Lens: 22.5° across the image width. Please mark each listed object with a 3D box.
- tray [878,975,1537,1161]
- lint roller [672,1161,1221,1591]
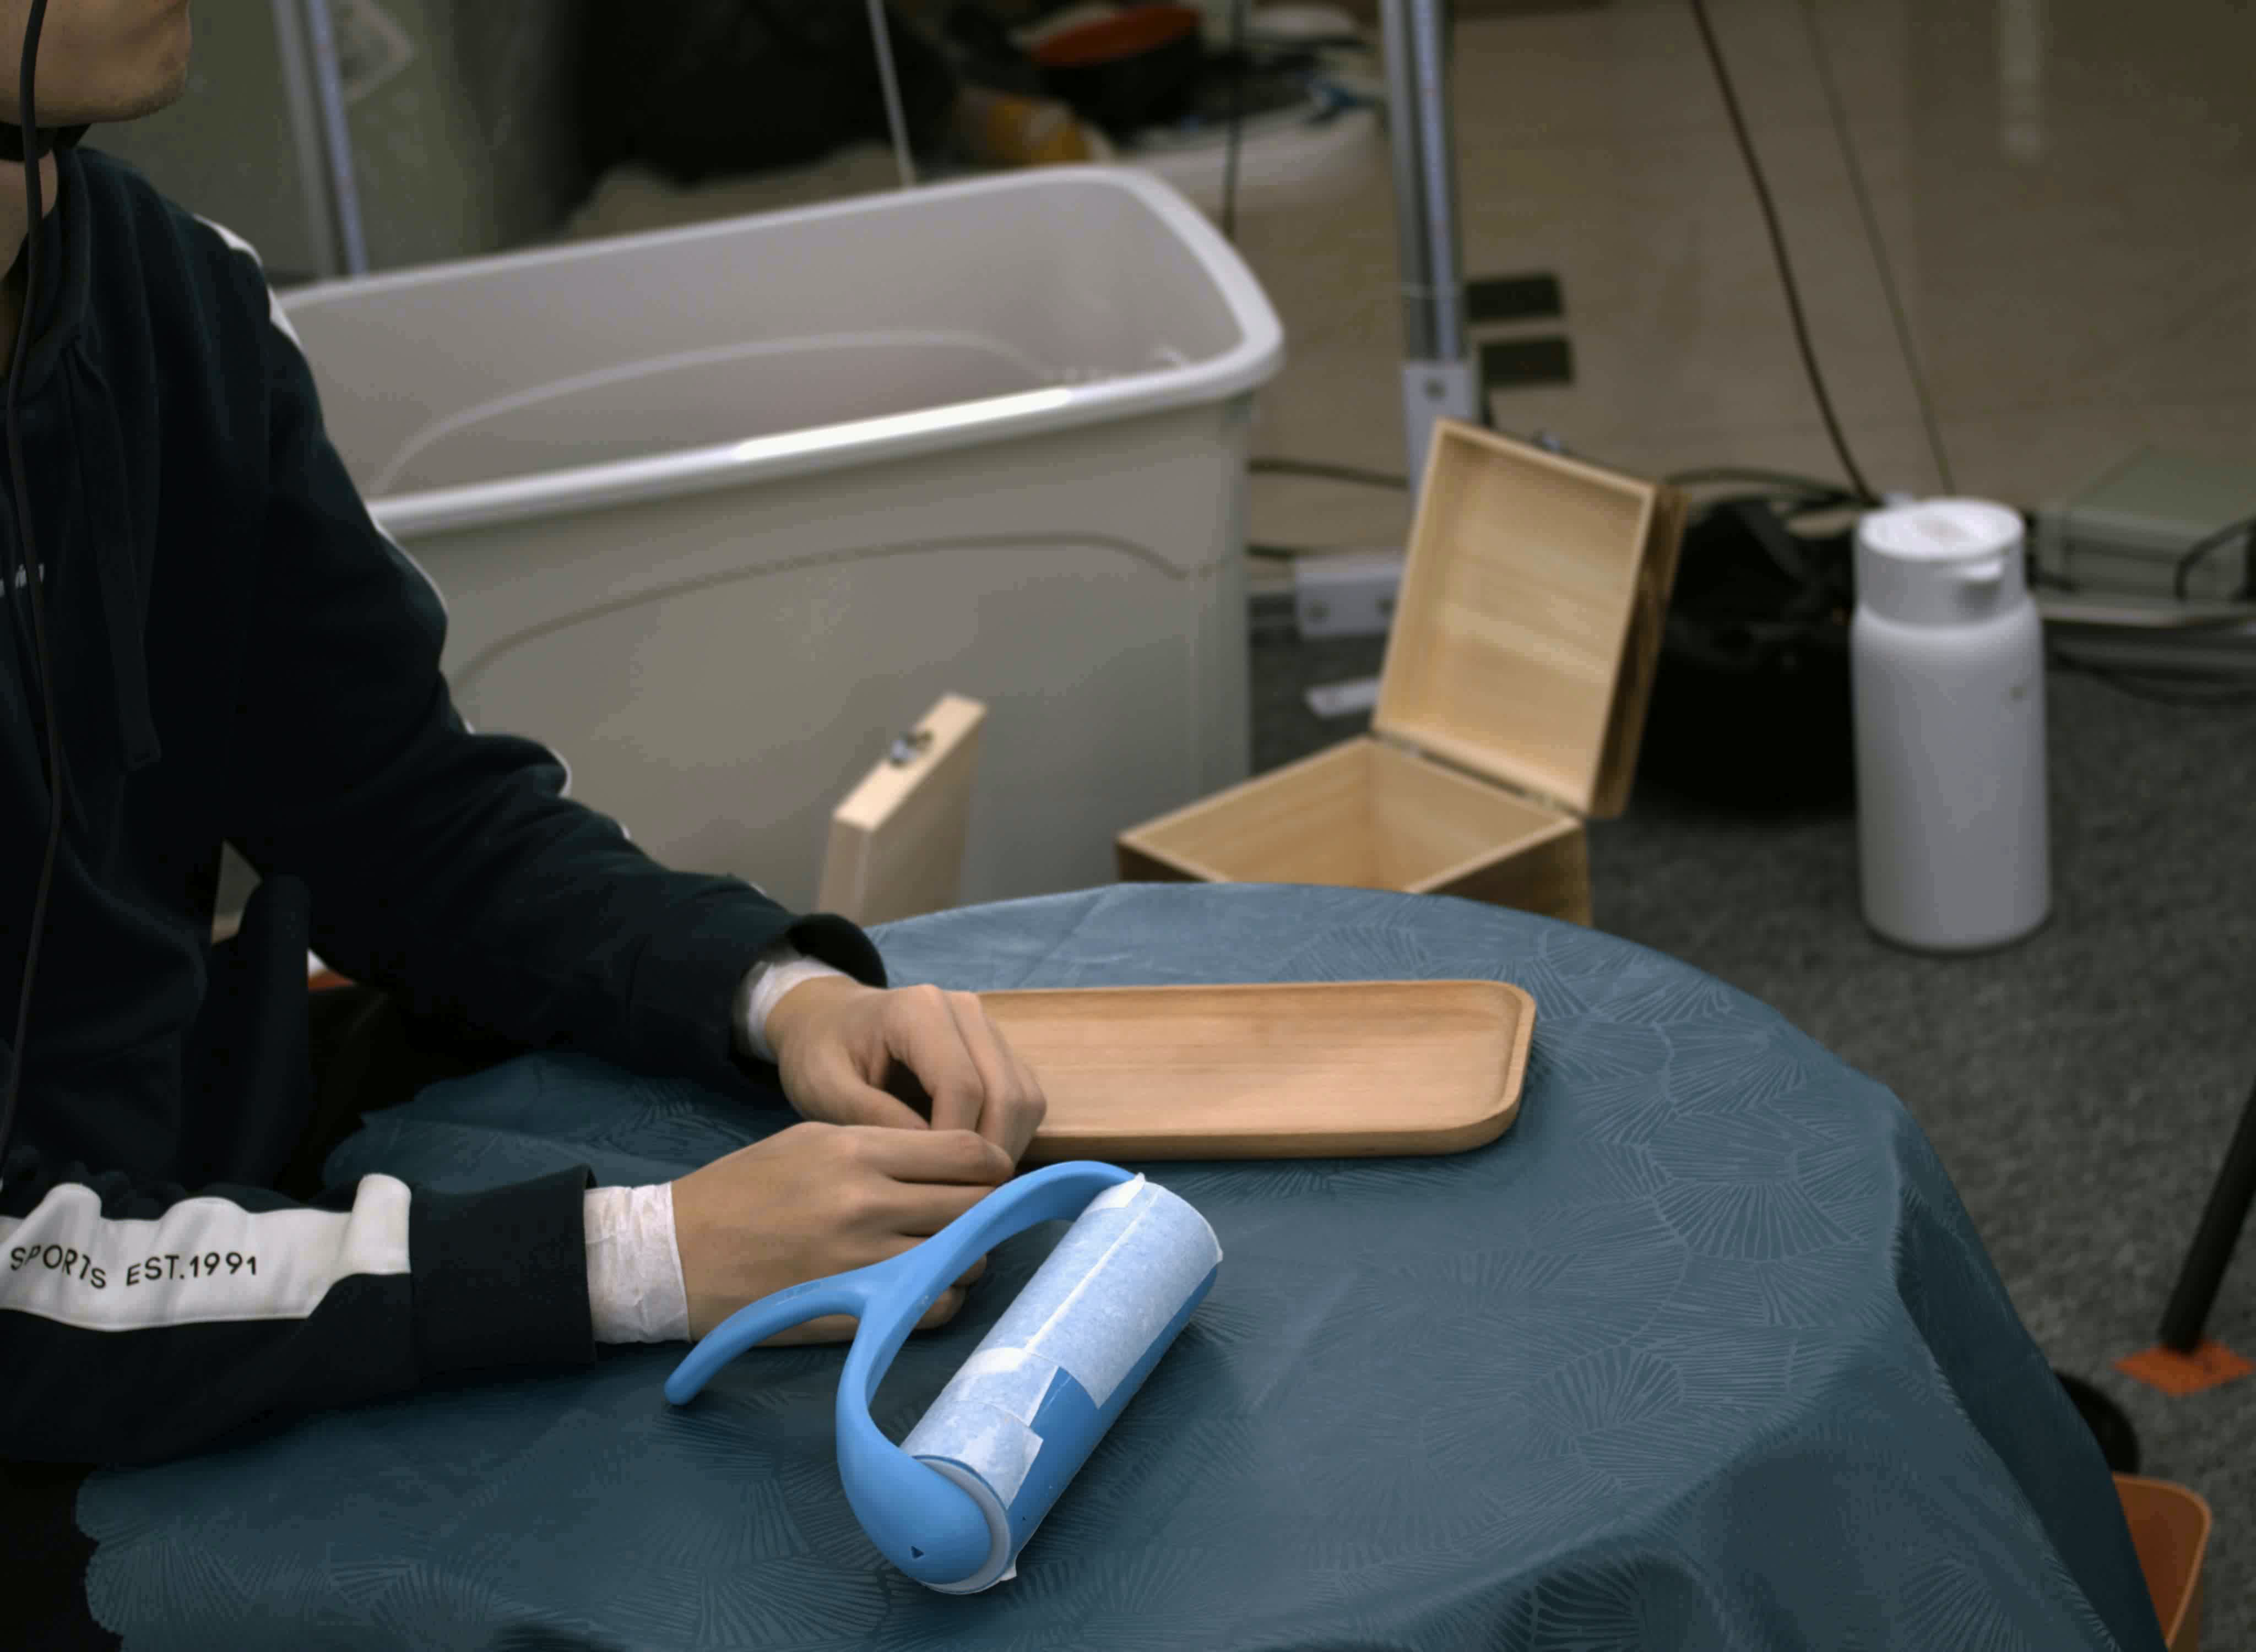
[{"bbox_3d":[0.032,0.095,2.210,0.250,0.023,0.129,-2,23,12],"label":"tray"},{"bbox_3d":[-0.082,0.187,1.992,0.180,0.069,0.225,4,29,19],"label":"lint roller"}]
